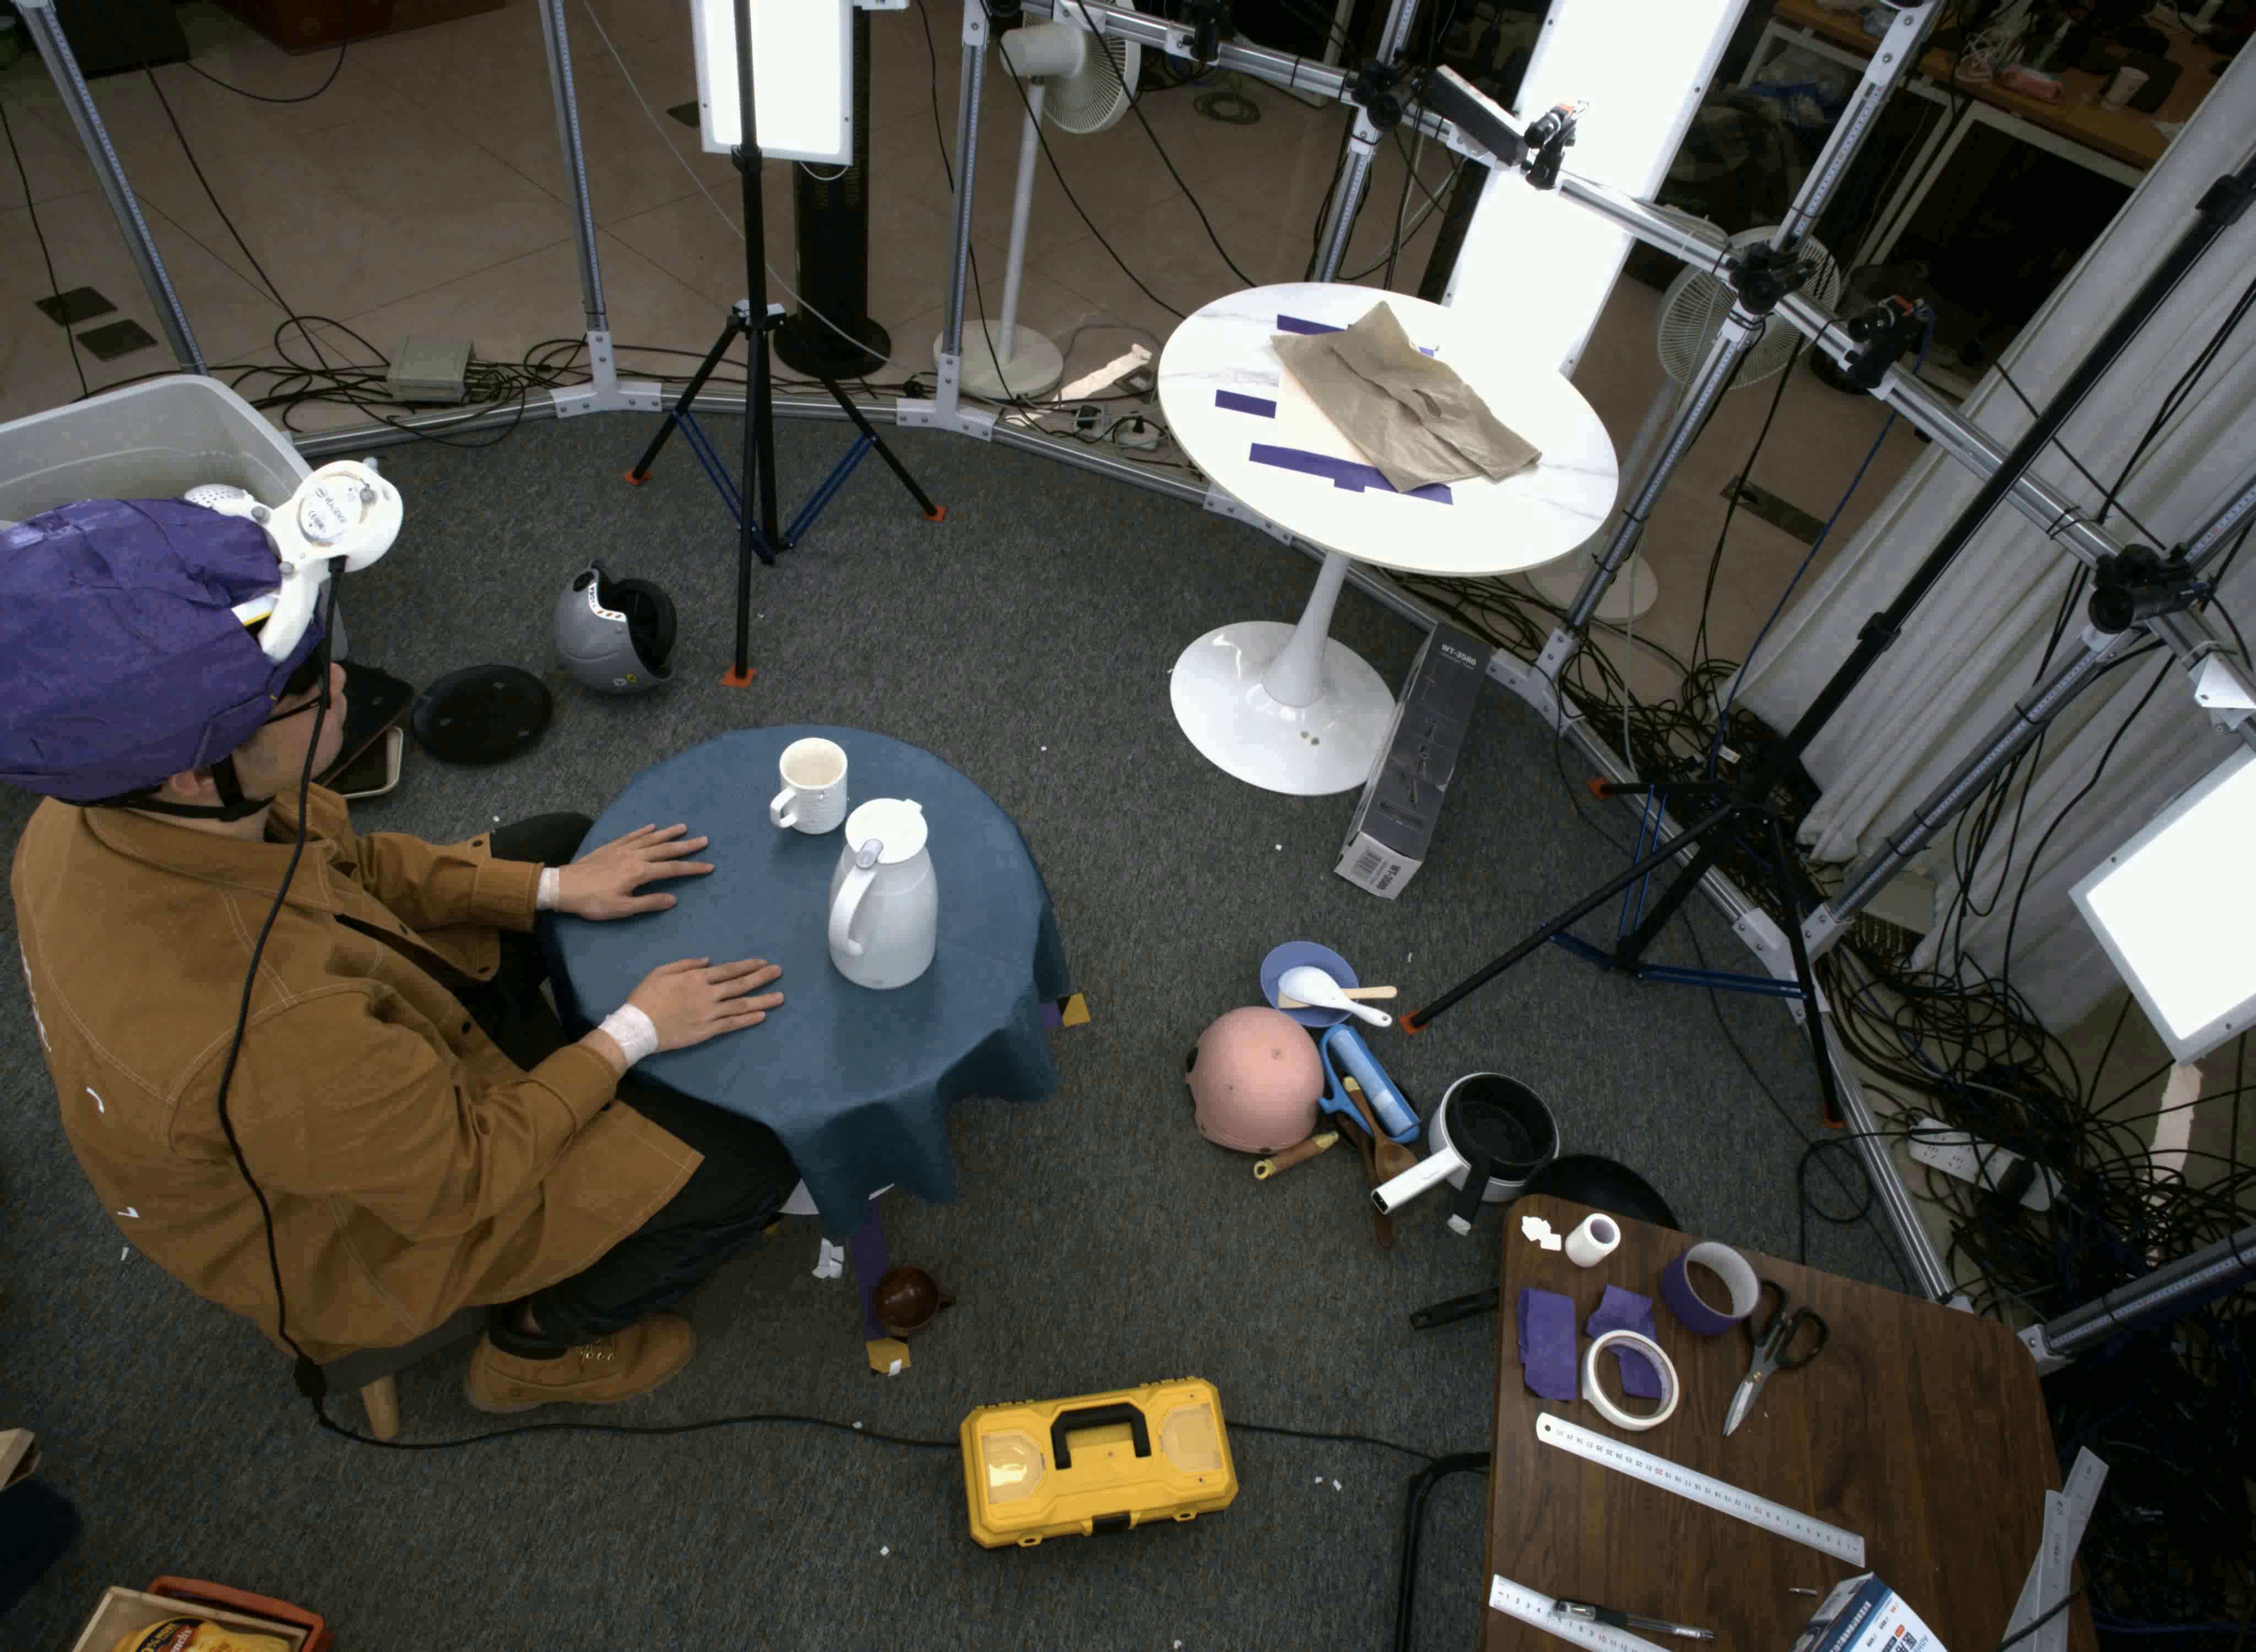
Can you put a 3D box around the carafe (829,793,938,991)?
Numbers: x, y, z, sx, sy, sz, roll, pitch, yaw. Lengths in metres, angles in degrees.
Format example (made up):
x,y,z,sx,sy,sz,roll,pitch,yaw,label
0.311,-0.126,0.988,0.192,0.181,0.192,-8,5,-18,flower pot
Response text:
x,y,z,sx,sy,sz,roll,pitch,yaw,label
-0.296,0.085,1.530,0.131,0.254,0.166,24,52,7,carafe

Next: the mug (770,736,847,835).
x,y,z,sx,sy,sz,roll,pitch,yaw,label
-0.420,-0.043,1.687,0.083,0.104,0.118,30,52,12,mug
